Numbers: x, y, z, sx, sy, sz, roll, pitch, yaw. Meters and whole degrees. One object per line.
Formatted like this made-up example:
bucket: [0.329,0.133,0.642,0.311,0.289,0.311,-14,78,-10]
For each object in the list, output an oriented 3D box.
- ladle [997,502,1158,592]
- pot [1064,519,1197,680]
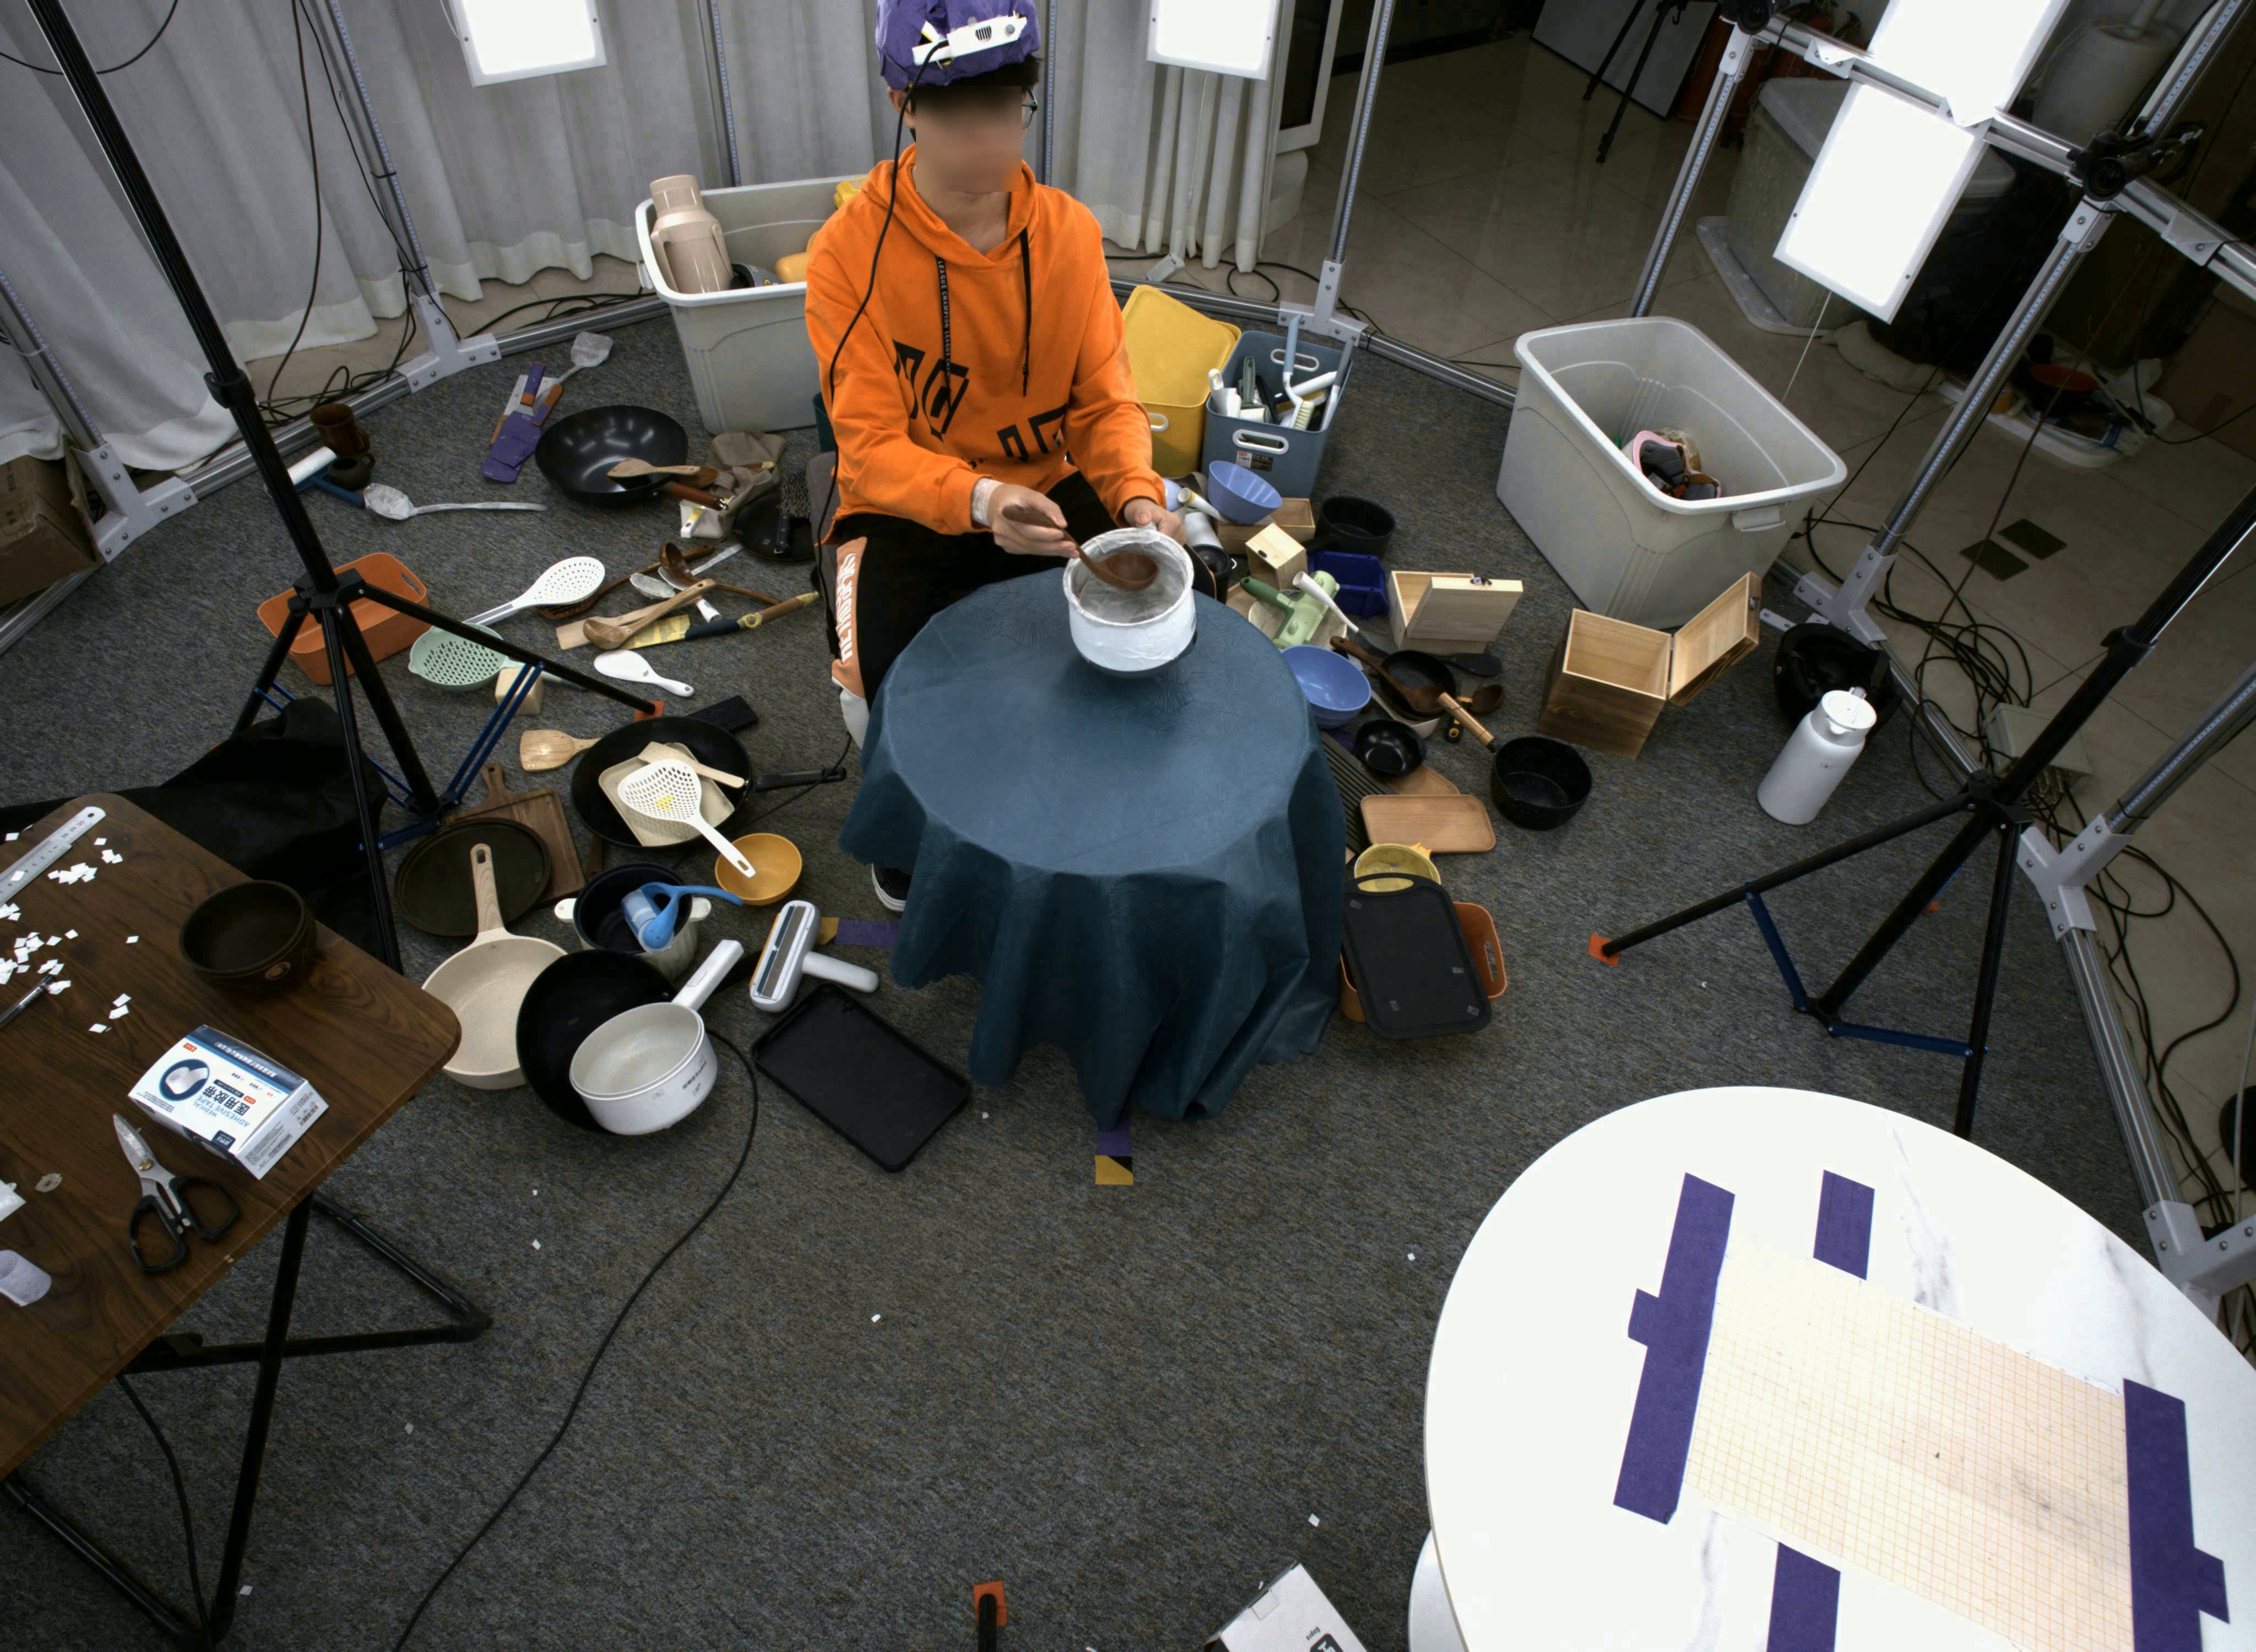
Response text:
ladle: [-0.061,-0.380,1.702,0.256,0.064,0.078,26,20,-43]
pot: [0.011,-0.327,1.798,0.179,0.133,0.239,7,58,9]
